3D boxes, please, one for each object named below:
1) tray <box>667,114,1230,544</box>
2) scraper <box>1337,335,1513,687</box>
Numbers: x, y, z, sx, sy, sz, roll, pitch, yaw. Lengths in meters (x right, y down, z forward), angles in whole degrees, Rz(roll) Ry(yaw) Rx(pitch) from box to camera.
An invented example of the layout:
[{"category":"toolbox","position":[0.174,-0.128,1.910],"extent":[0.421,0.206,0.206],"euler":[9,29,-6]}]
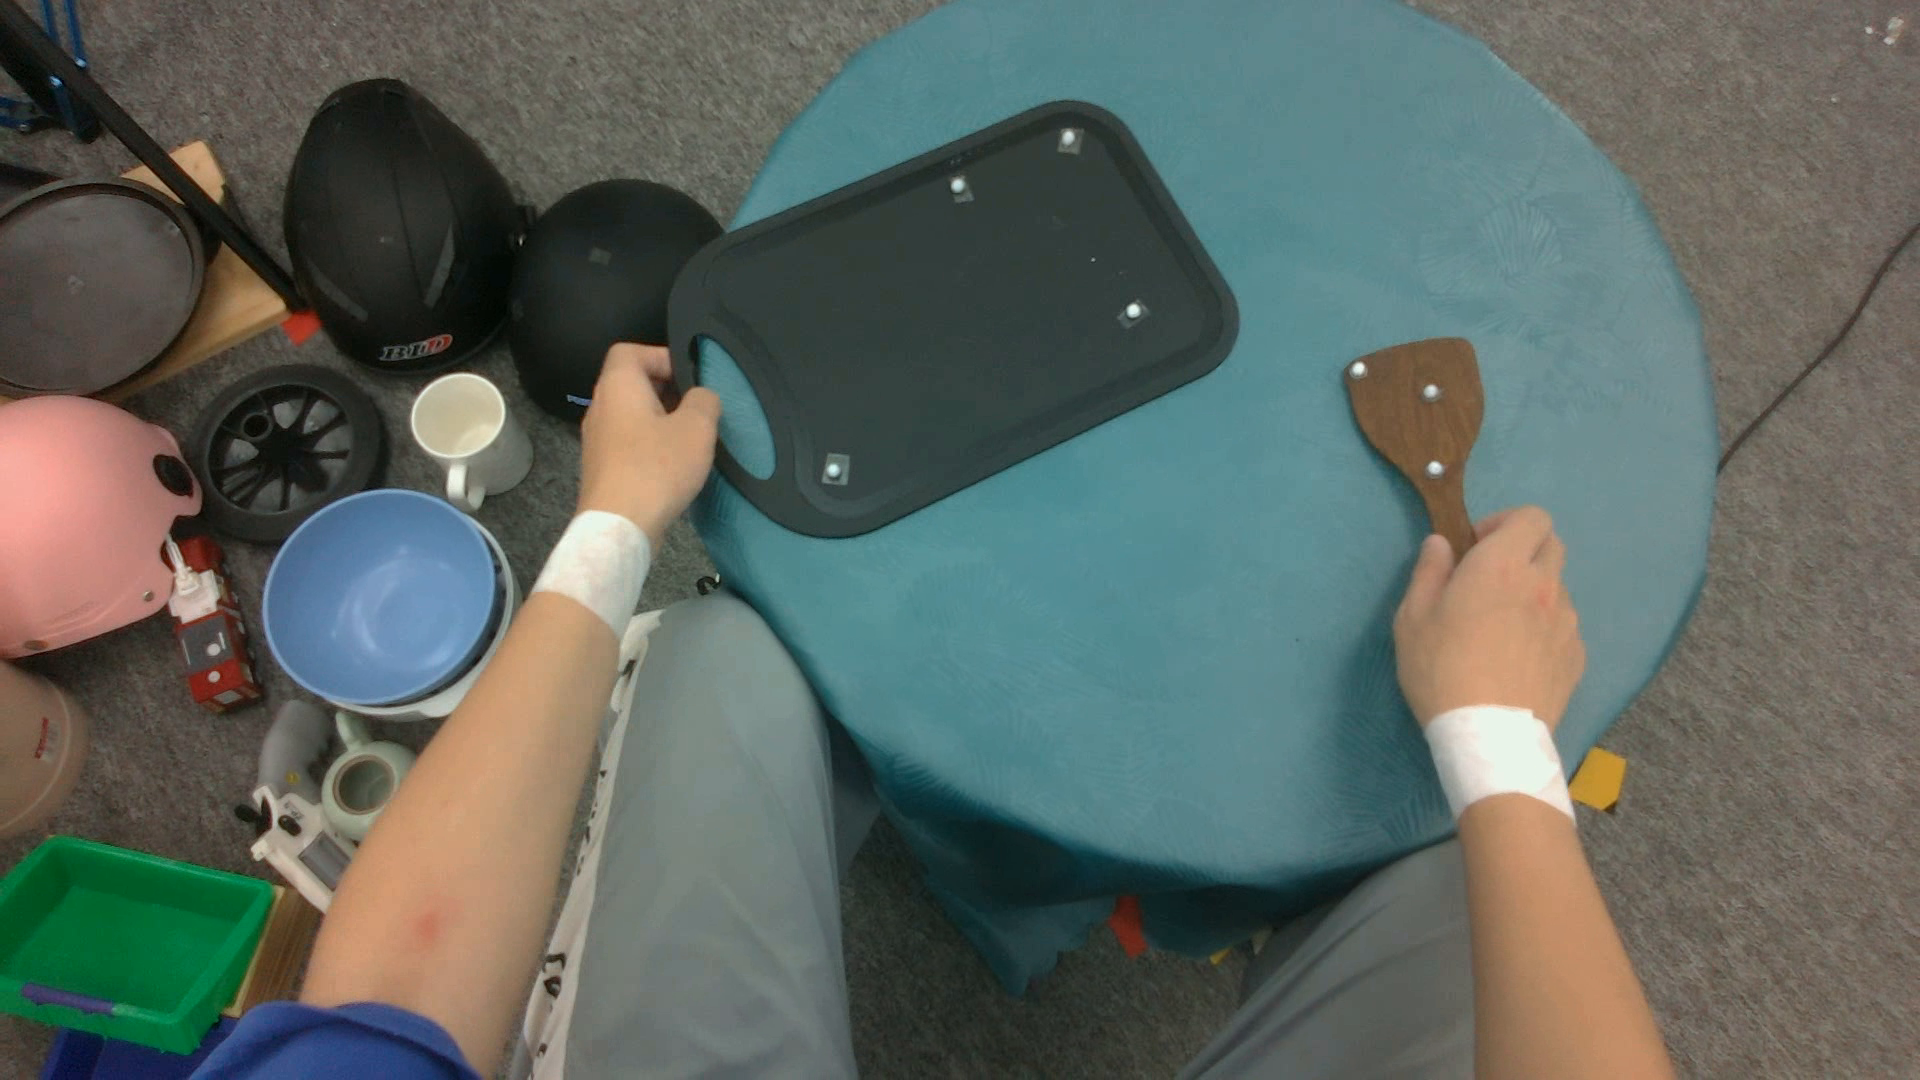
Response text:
[{"category":"tray","position":[-0.012,-0.131,0.828],"extent":[0.326,0.010,0.211],"euler":[-26,72,-10]},{"category":"scraper","position":[0.271,-0.019,0.776],"extent":[0.075,0.011,0.212],"euler":[-13,65,15]}]
